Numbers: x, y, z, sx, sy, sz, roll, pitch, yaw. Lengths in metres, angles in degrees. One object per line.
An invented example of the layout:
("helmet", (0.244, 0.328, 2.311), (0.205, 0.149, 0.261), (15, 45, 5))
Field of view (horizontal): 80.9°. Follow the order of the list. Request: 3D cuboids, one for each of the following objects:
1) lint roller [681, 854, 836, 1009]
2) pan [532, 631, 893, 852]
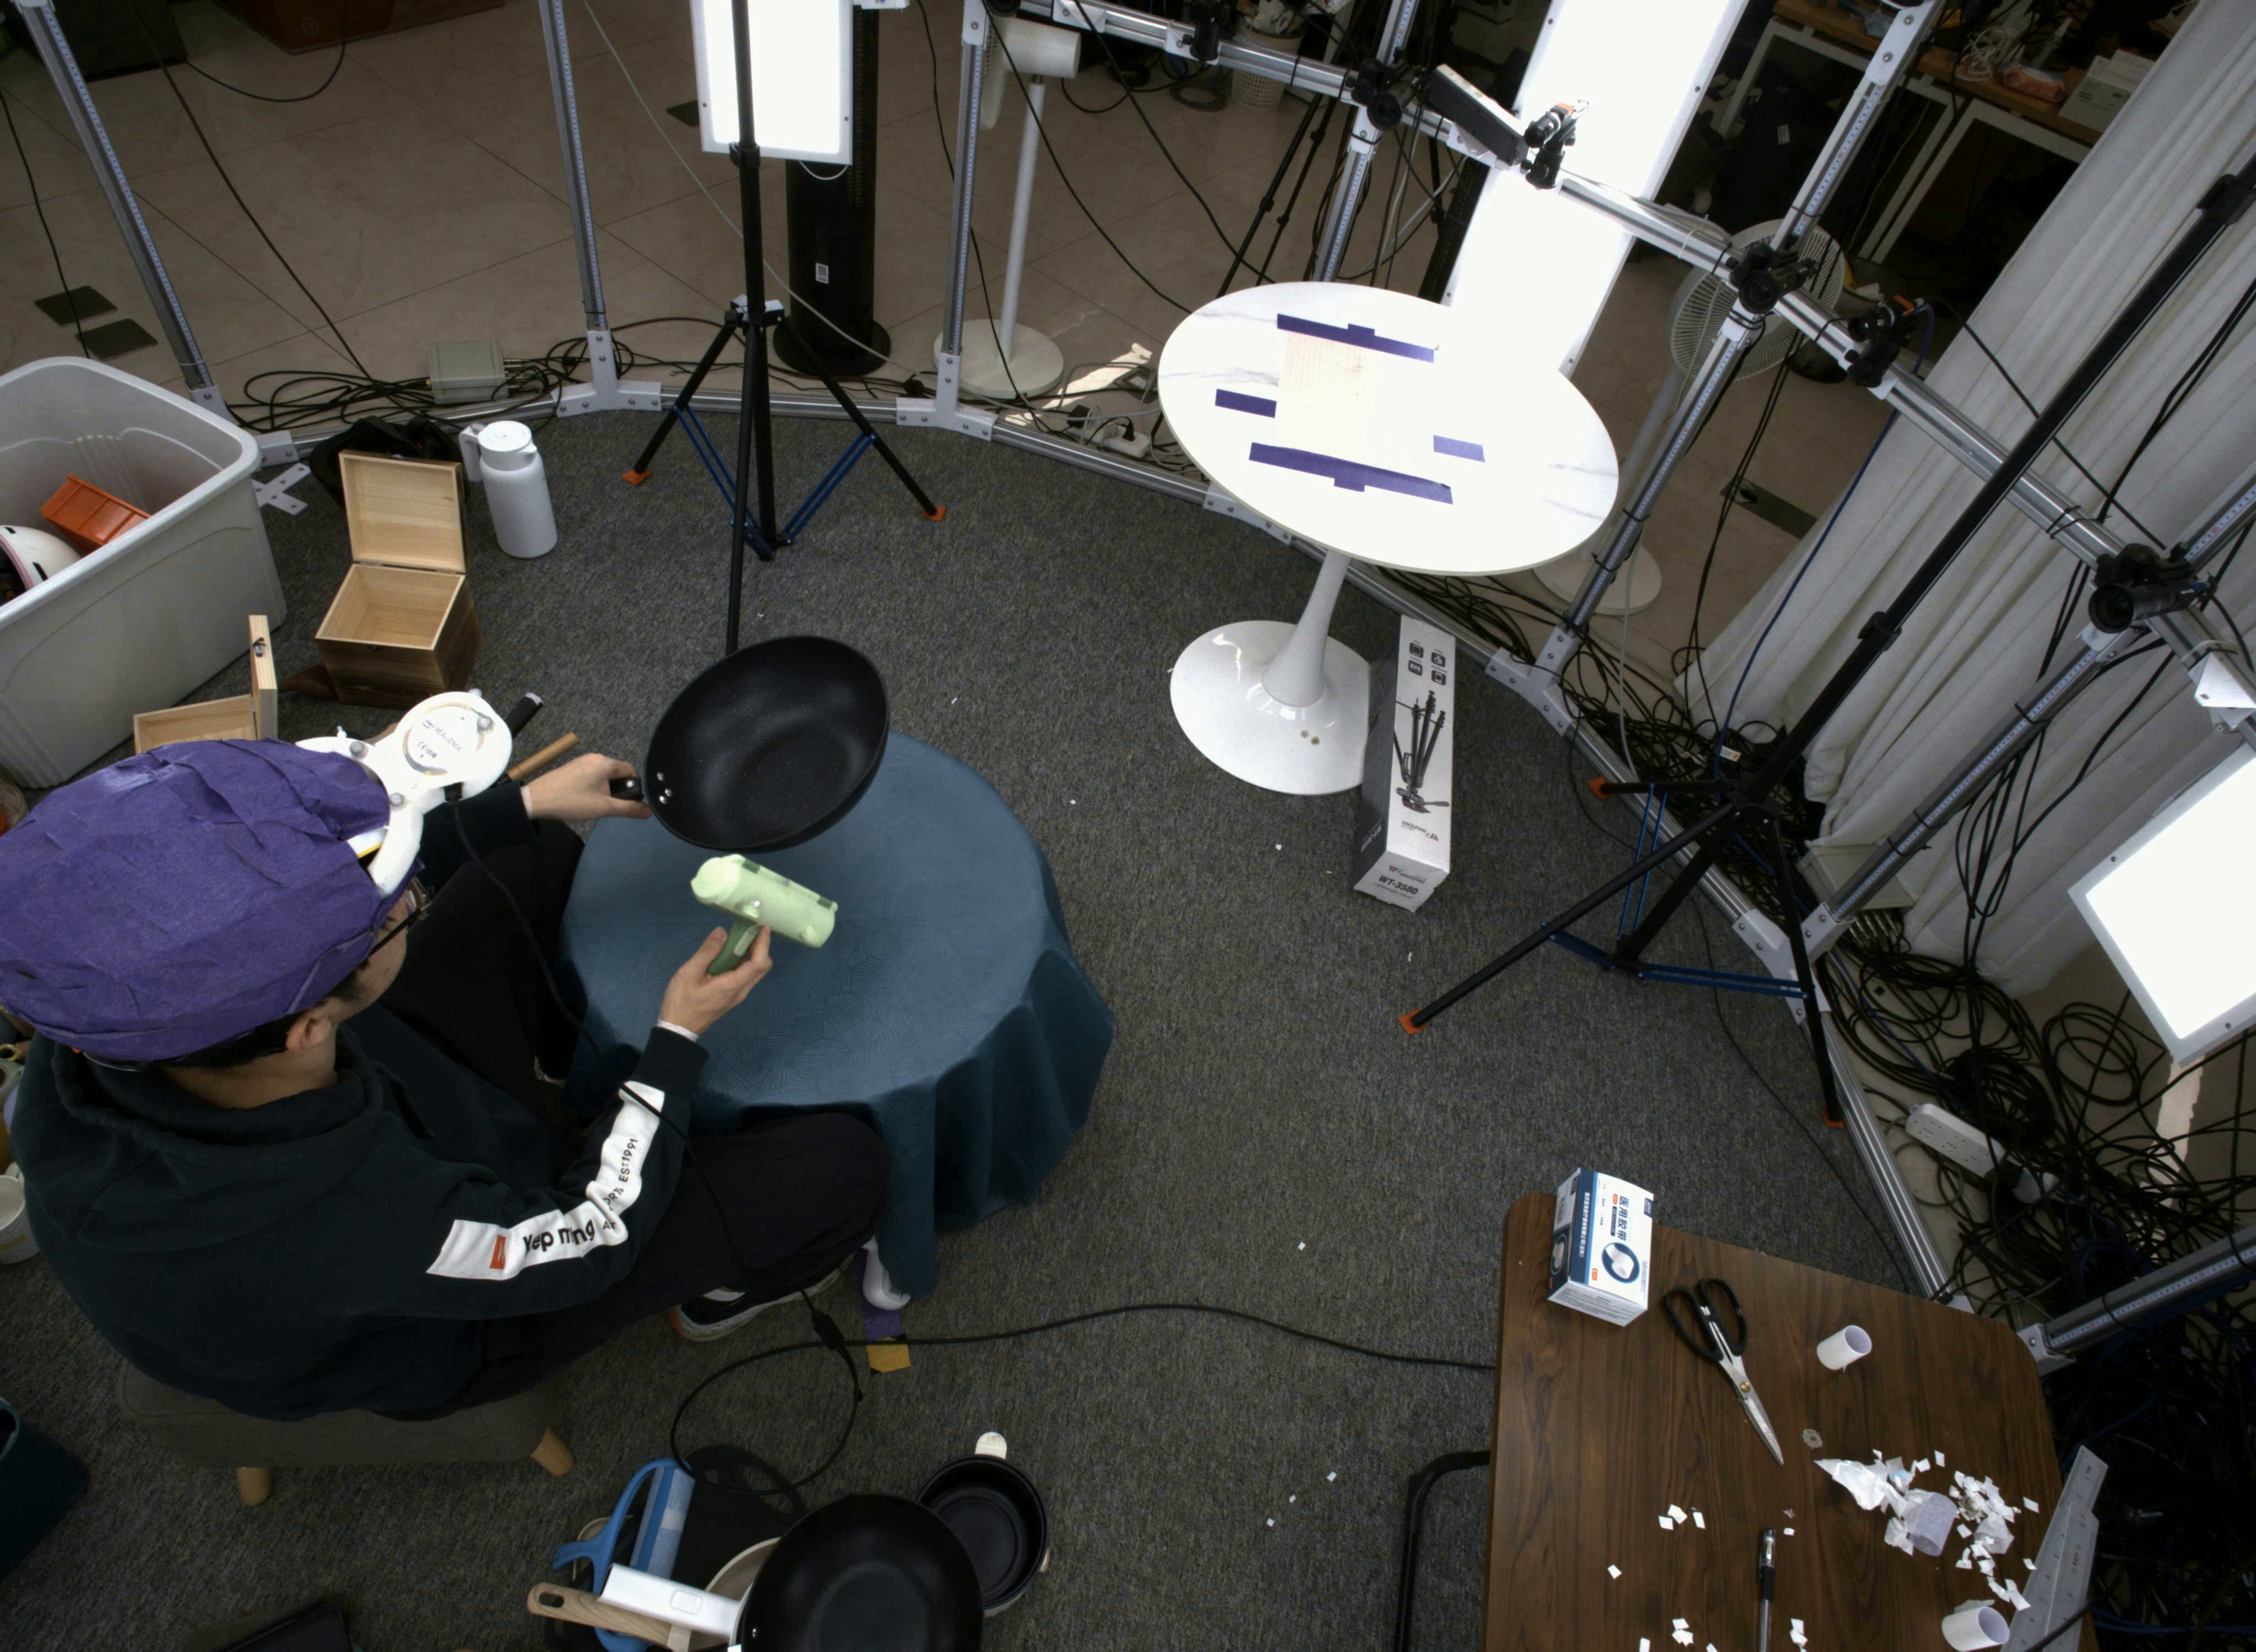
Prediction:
("lint roller", (-0.432, 0.137, 1.454), (0.079, 0.205, 0.184), (28, 83, 29))
("pan", (-0.494, -0.066, 1.538), (0.473, 0.115, 0.302), (-19, 56, -1))
